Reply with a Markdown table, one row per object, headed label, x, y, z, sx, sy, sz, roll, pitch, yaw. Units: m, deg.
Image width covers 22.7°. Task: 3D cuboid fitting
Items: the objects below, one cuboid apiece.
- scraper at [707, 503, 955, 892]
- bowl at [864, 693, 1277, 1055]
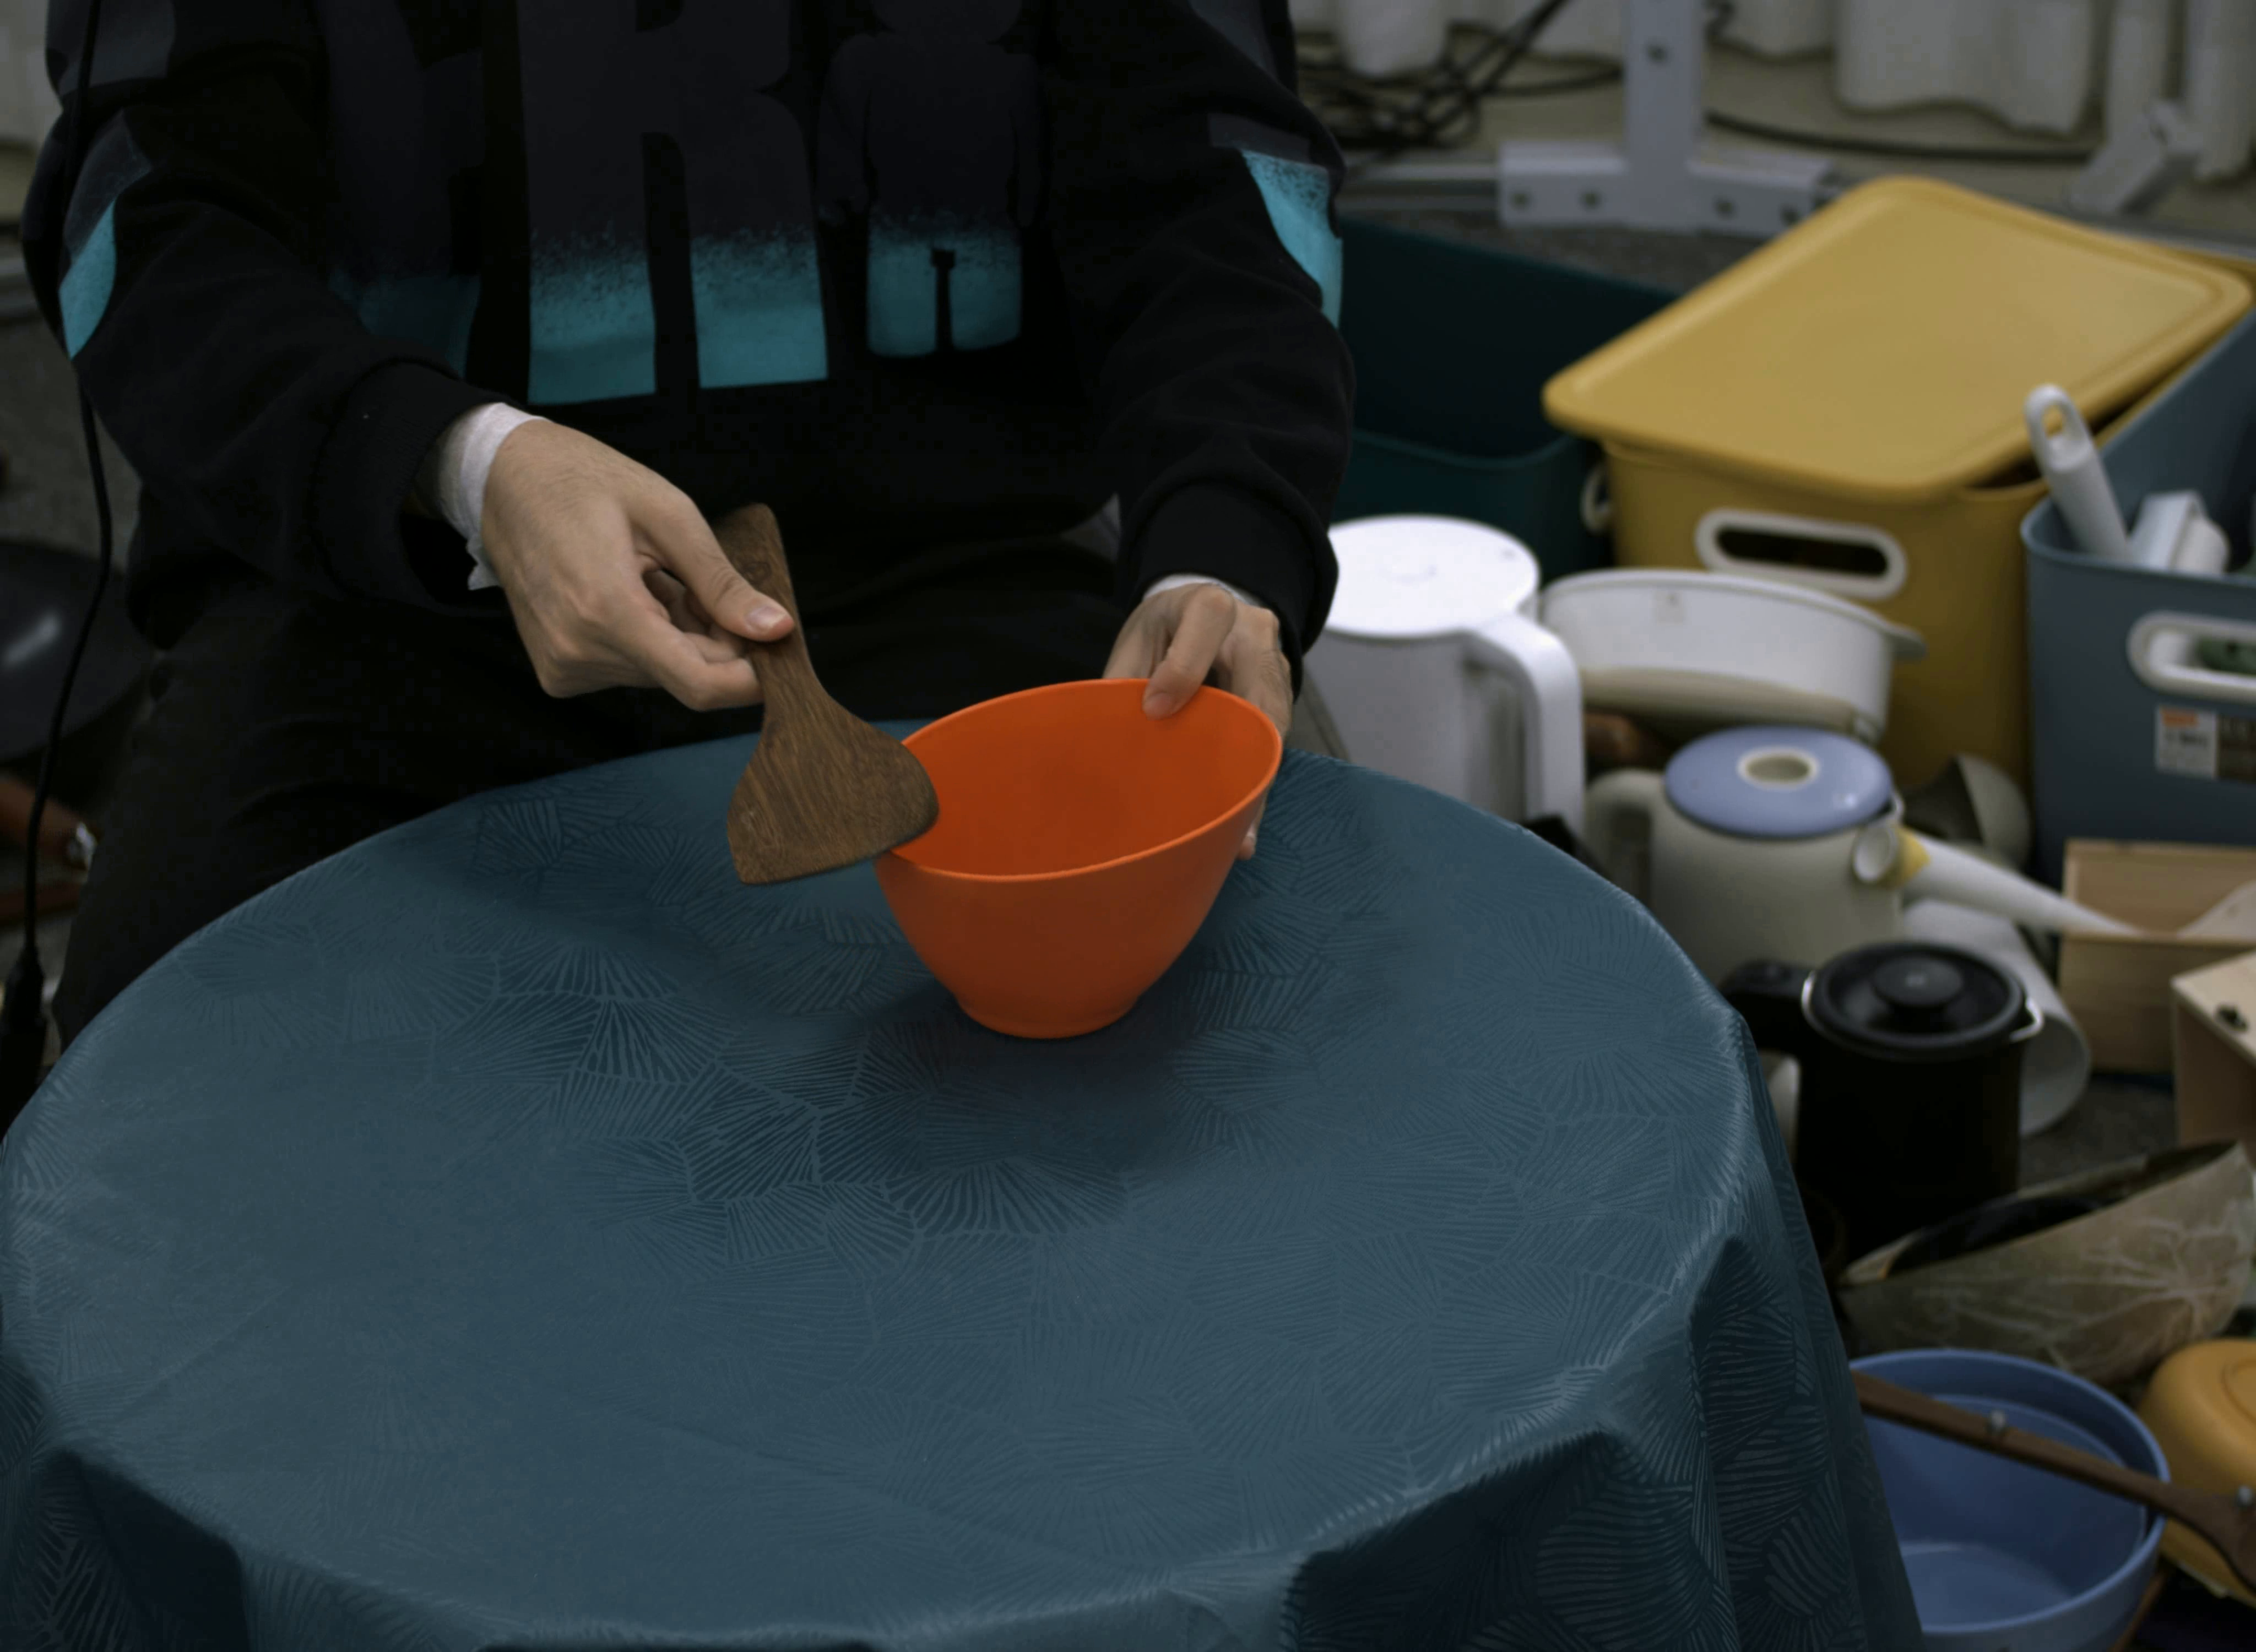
| label | x | y | z | sx | sy | sz | roll | pitch | yaw |
| --- | --- | --- | --- | --- | --- | --- | --- | --- | --- |
| scraper | -0.115 | -0.048 | 1.956 | 0.075 | 0.010 | 0.214 | -16 | 41 | -4 |
| bowl | -0.021 | 0.022 | 1.948 | 0.147 | 0.103 | 0.150 | -2 | 29 | 1 |
